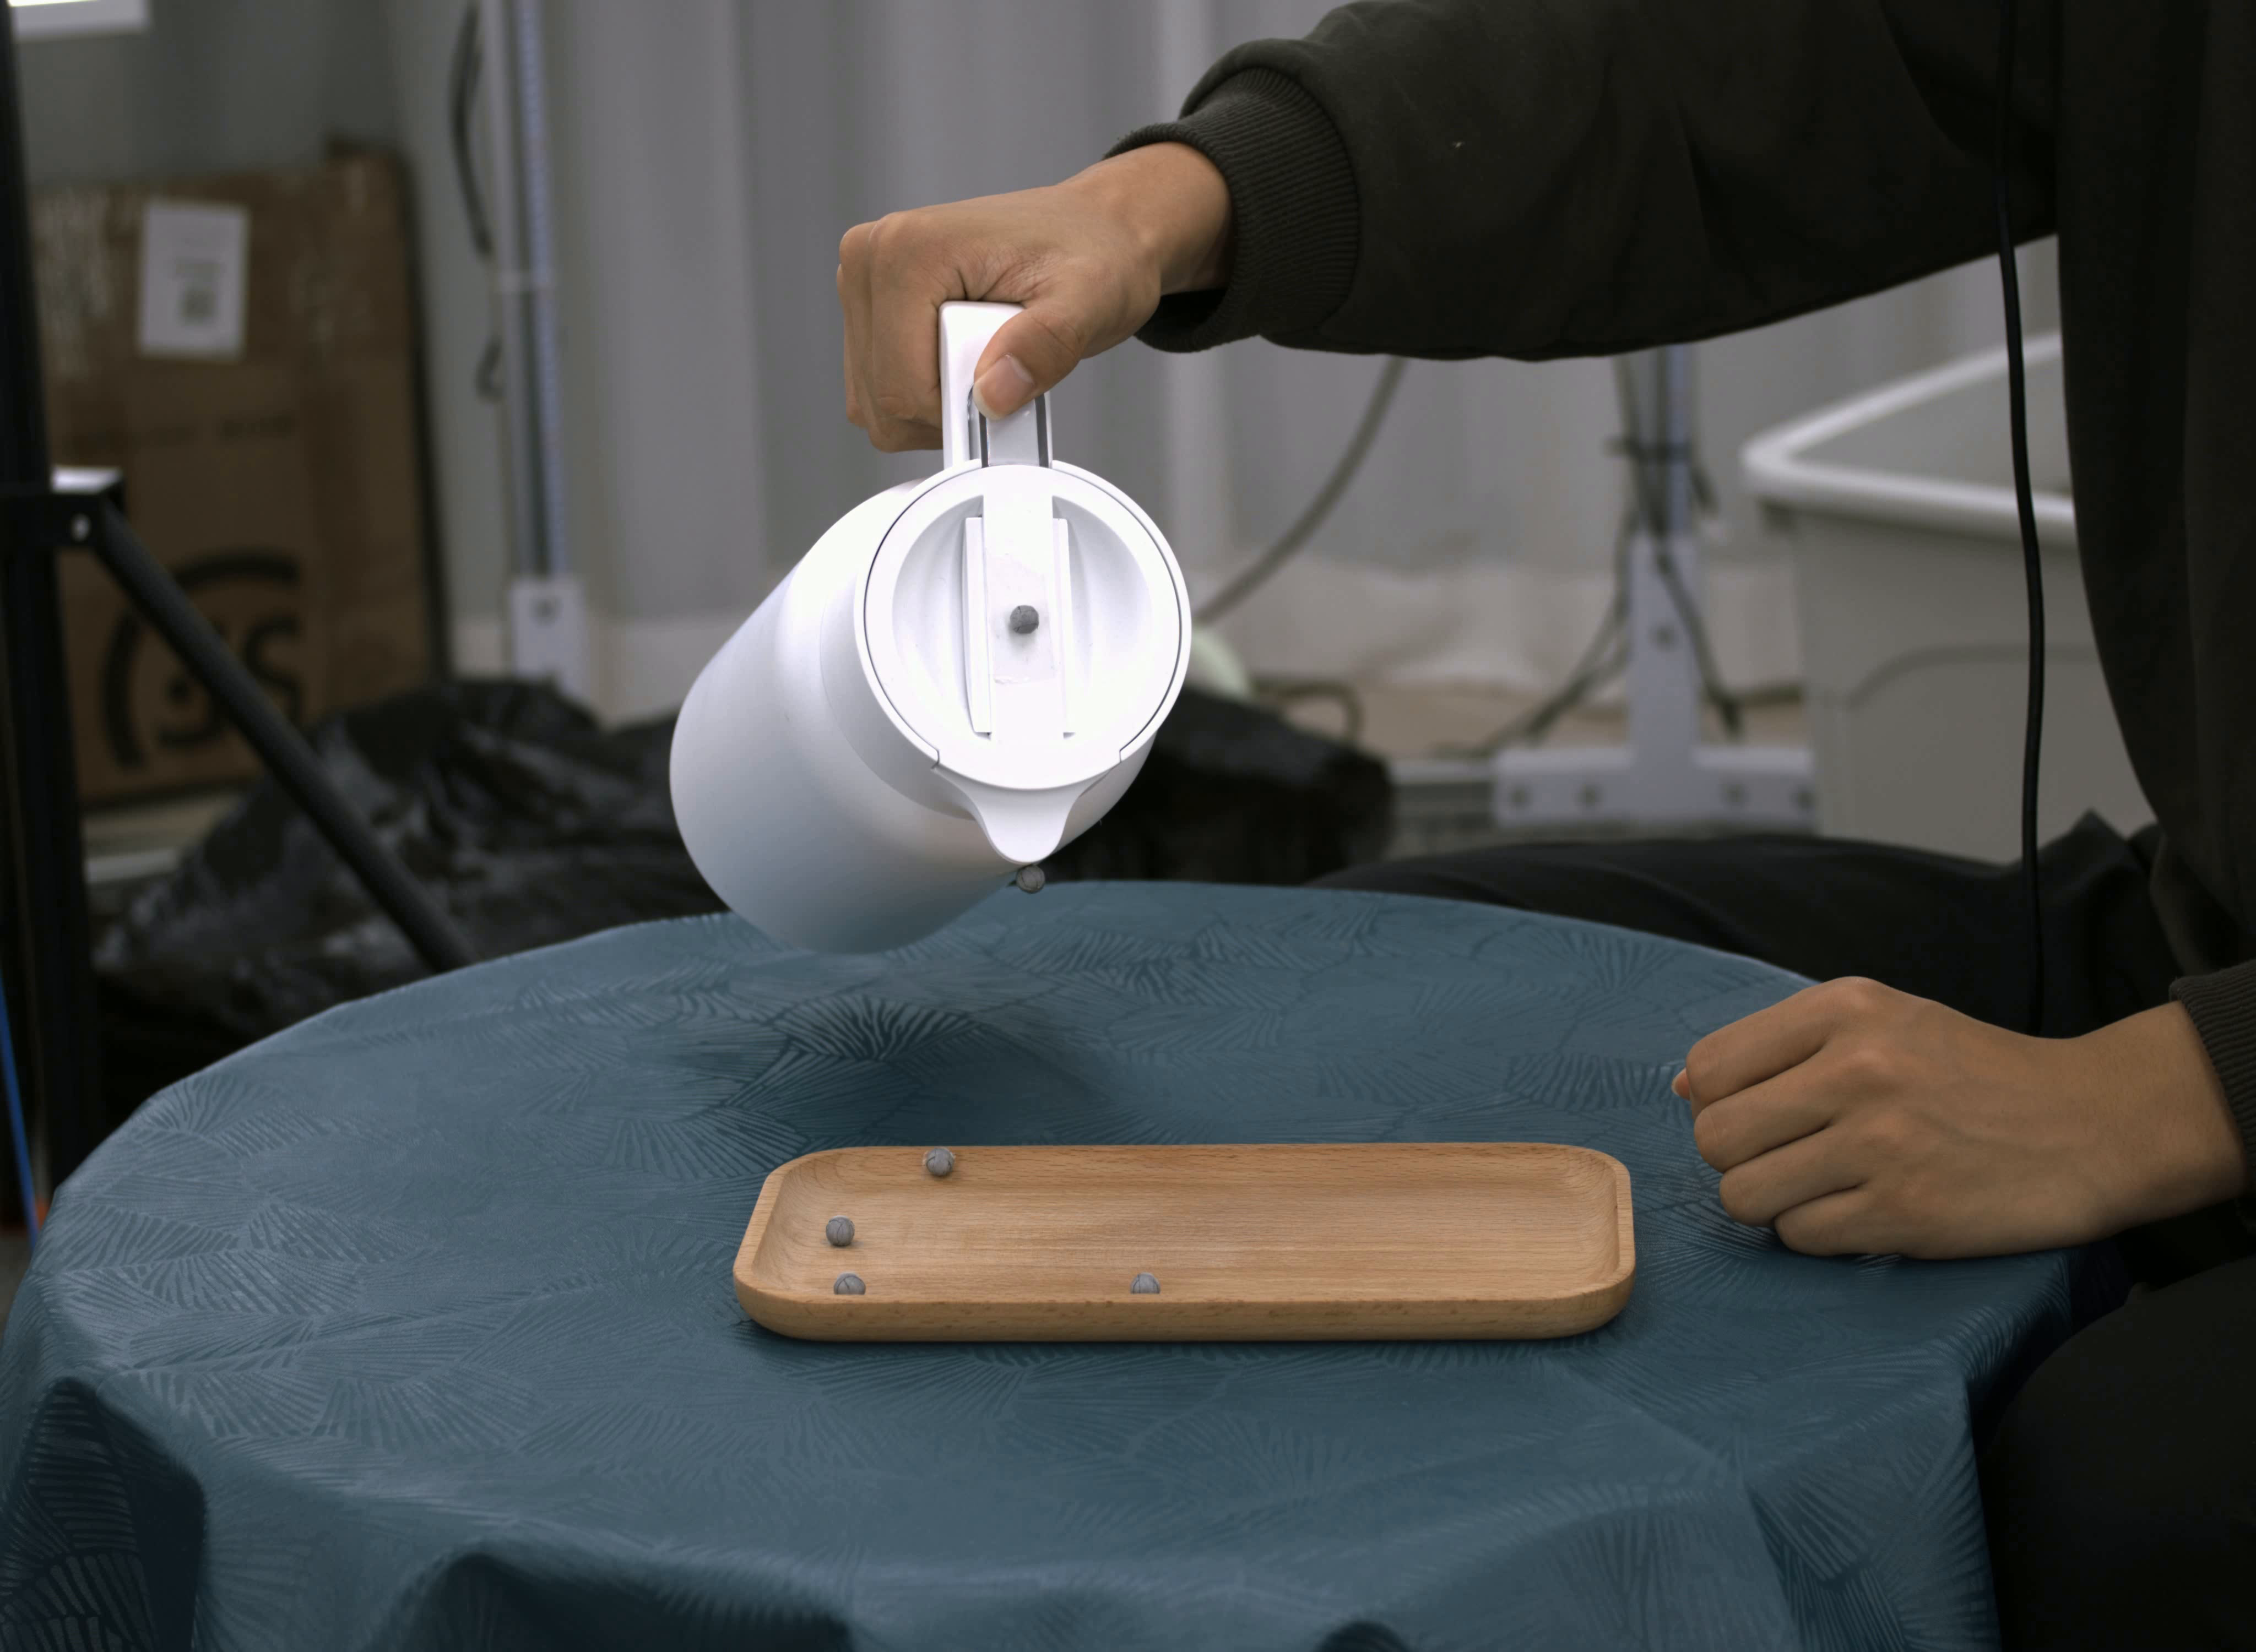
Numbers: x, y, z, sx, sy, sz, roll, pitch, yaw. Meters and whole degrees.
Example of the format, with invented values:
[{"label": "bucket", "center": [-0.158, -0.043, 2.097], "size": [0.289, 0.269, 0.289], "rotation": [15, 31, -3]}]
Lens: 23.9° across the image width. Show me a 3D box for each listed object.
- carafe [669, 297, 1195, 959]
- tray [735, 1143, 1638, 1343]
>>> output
[{"label": "carafe", "center": [-0.064, -0.053, 1.628], "size": [0.122, 0.174, 0.270], "rotation": [-2, -10, -13]}, {"label": "tray", "center": [0.018, 0.118, 1.495], "size": [0.251, 0.023, 0.130], "rotation": [0, 18, 7]}]
